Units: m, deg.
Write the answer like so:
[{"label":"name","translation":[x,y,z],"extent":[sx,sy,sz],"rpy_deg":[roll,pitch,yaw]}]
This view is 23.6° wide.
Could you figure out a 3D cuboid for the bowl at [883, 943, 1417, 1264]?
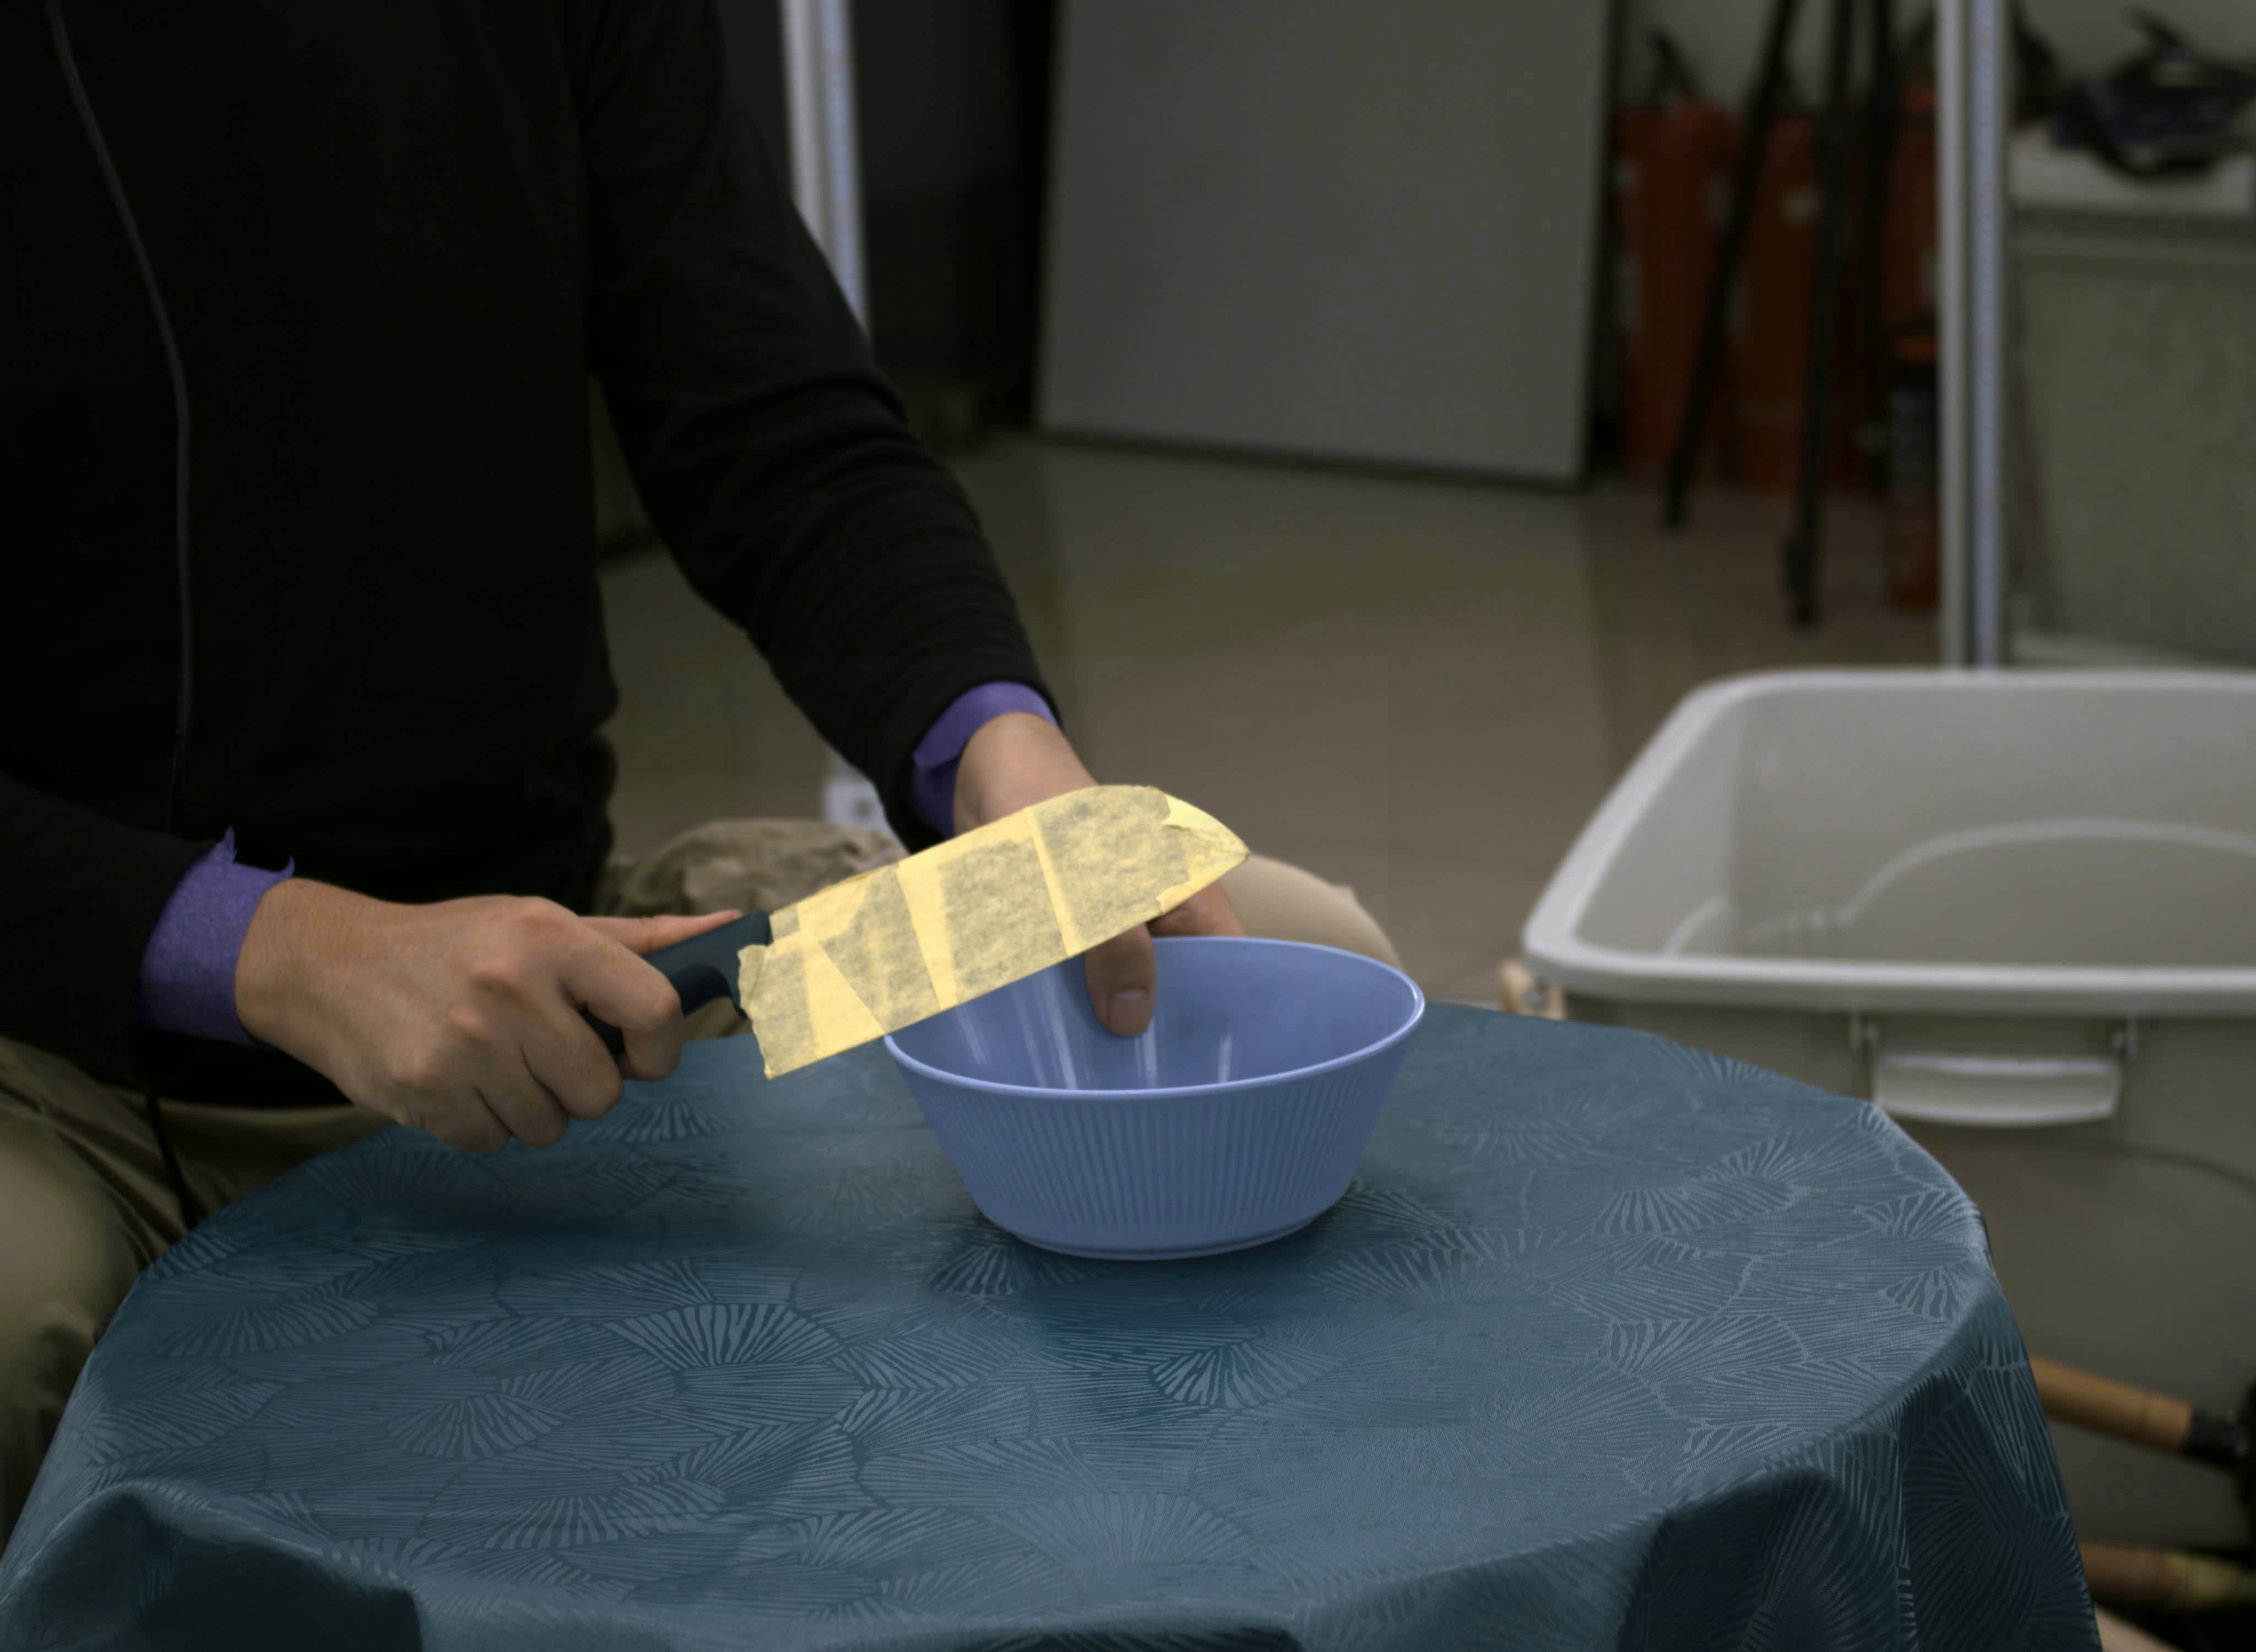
[{"label":"bowl","translation":[0.009,0.092,1.746],"extent":[0.174,0.071,0.176],"rpy_deg":[-5,14,0]}]

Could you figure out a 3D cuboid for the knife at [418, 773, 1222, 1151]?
[{"label":"knife","translation":[-0.100,0.050,1.766],"extent":[0.288,0.027,0.082],"rpy_deg":[-23,40,9]}]
